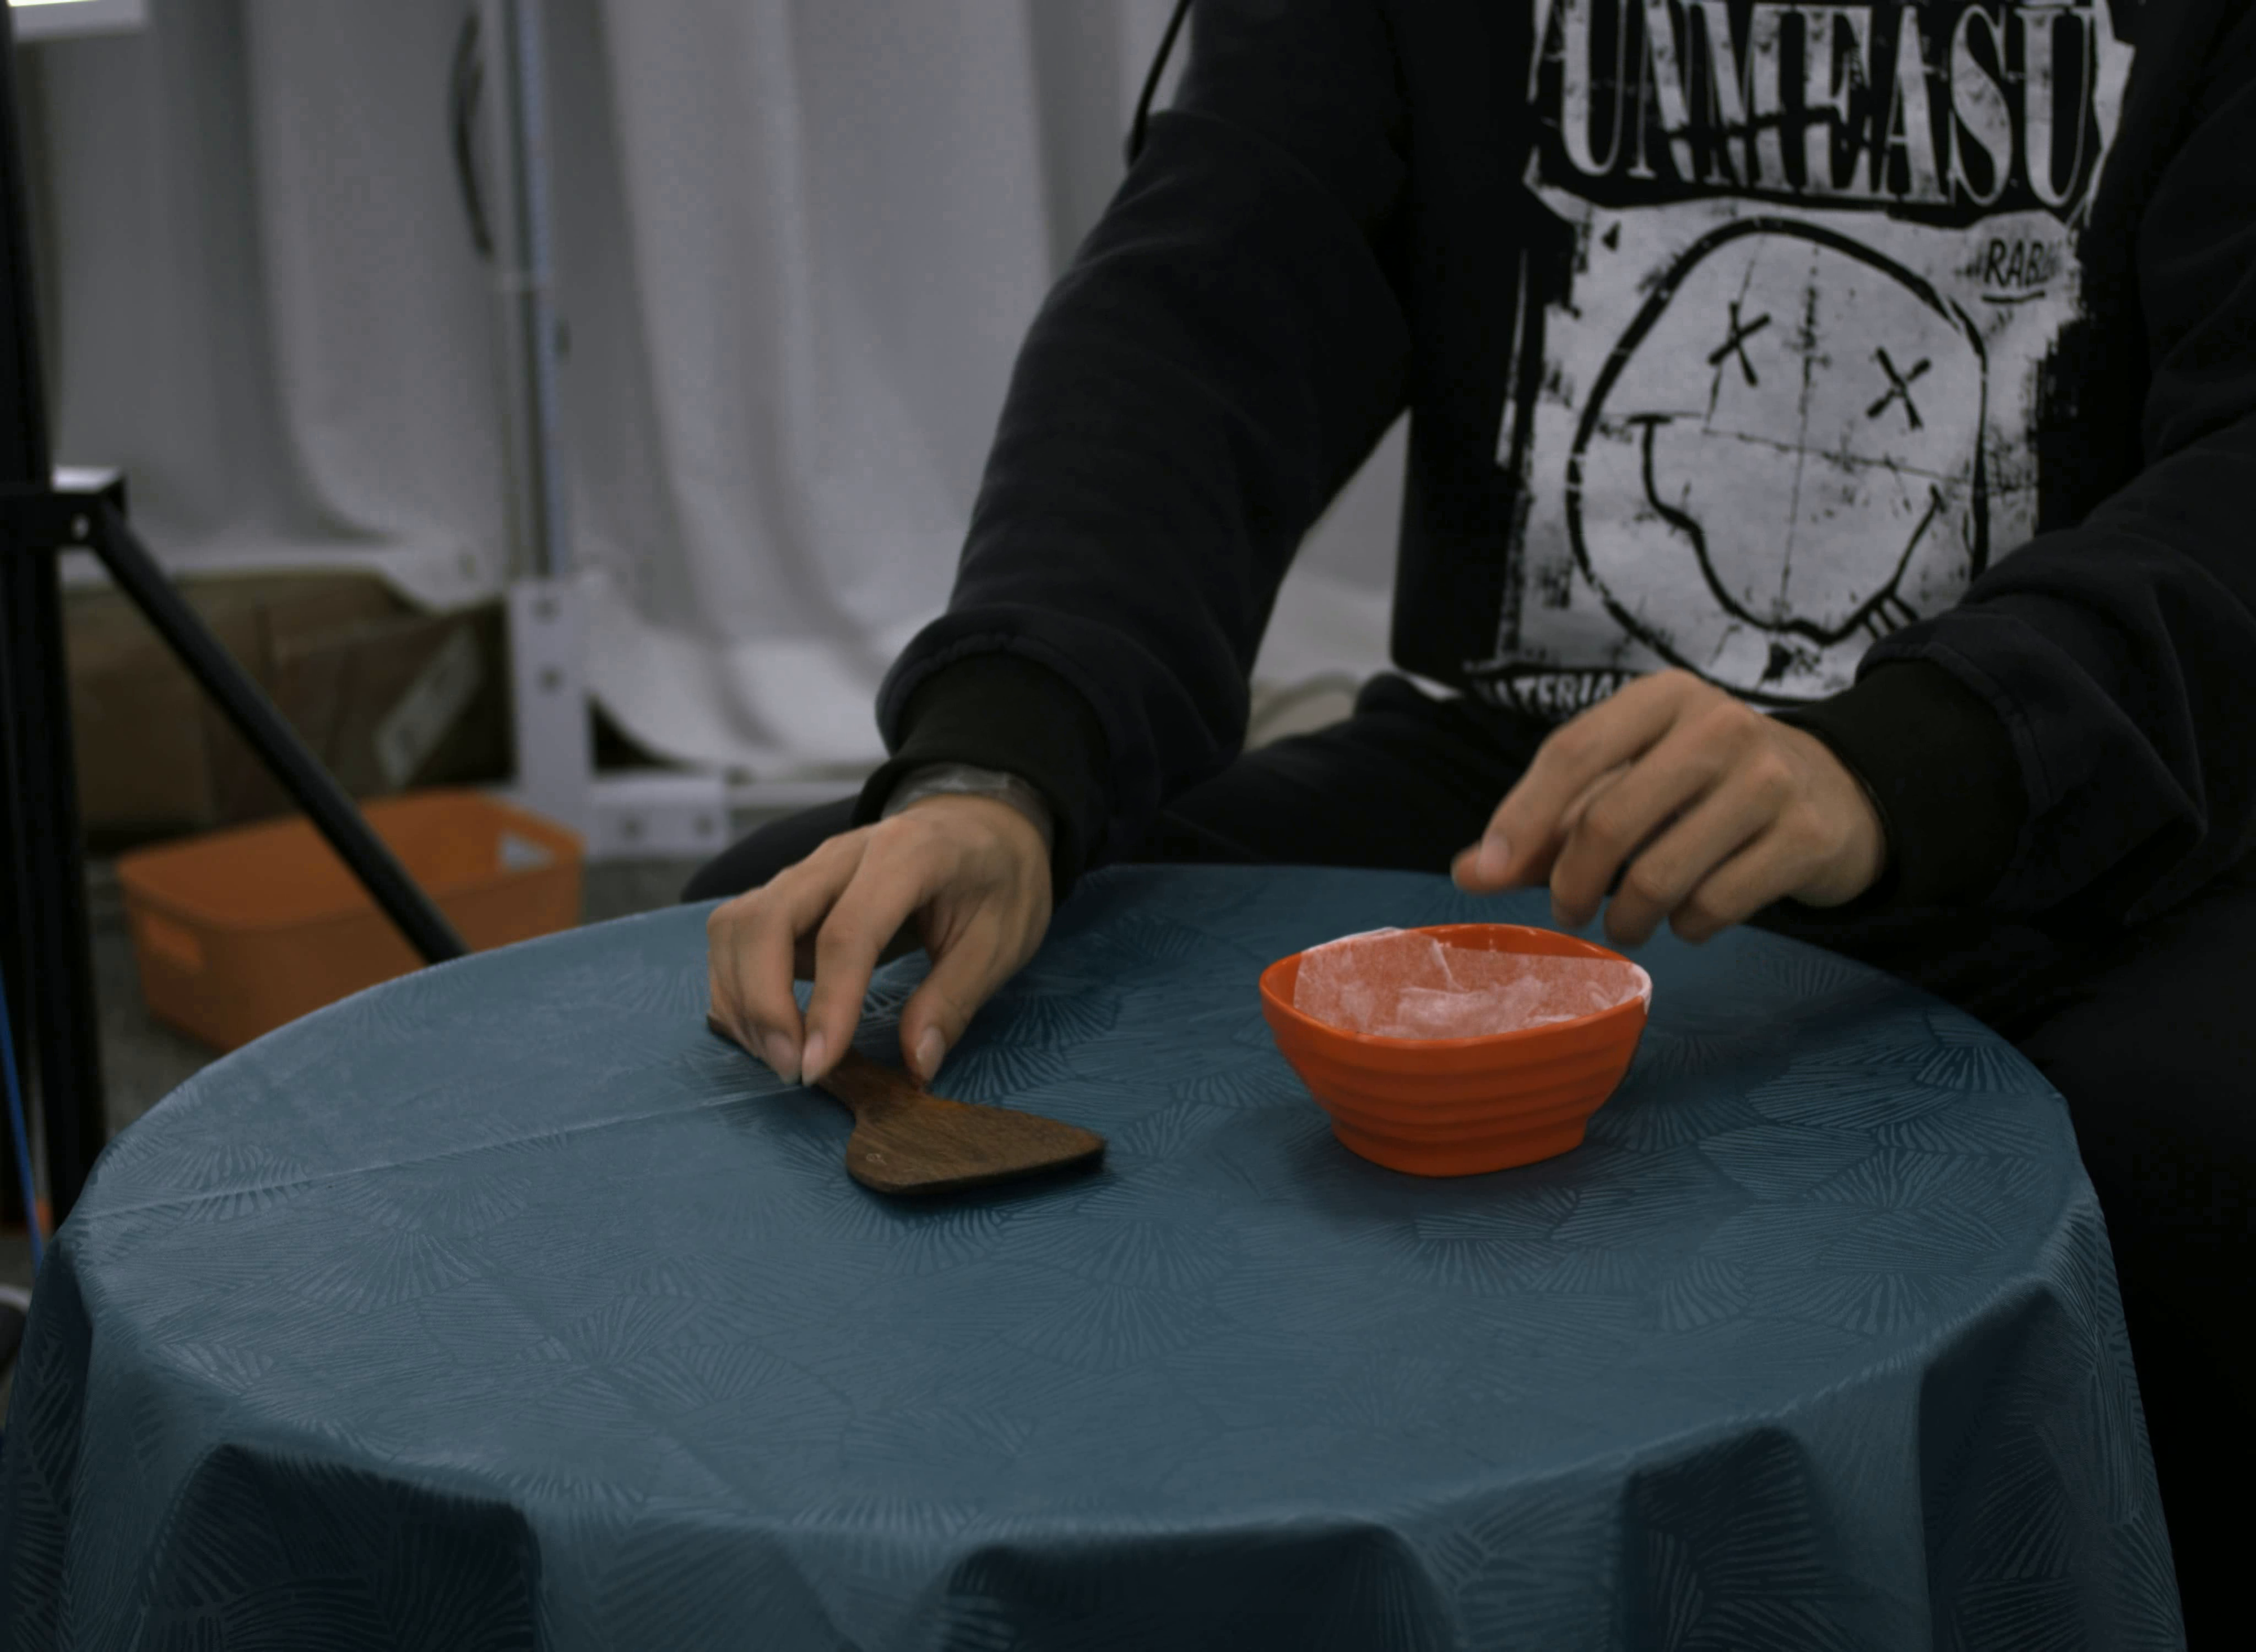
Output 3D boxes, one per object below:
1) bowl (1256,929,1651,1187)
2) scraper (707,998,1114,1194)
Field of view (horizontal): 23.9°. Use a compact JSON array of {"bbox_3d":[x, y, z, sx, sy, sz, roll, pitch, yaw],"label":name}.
[{"bbox_3d":[0.098,0.071,1.585,0.118,0.051,0.119,-4,16,0],"label":"bowl"},{"bbox_3d":[-0.080,0.082,1.648,0.074,0.011,0.215,-9,16,-25],"label":"scraper"}]
